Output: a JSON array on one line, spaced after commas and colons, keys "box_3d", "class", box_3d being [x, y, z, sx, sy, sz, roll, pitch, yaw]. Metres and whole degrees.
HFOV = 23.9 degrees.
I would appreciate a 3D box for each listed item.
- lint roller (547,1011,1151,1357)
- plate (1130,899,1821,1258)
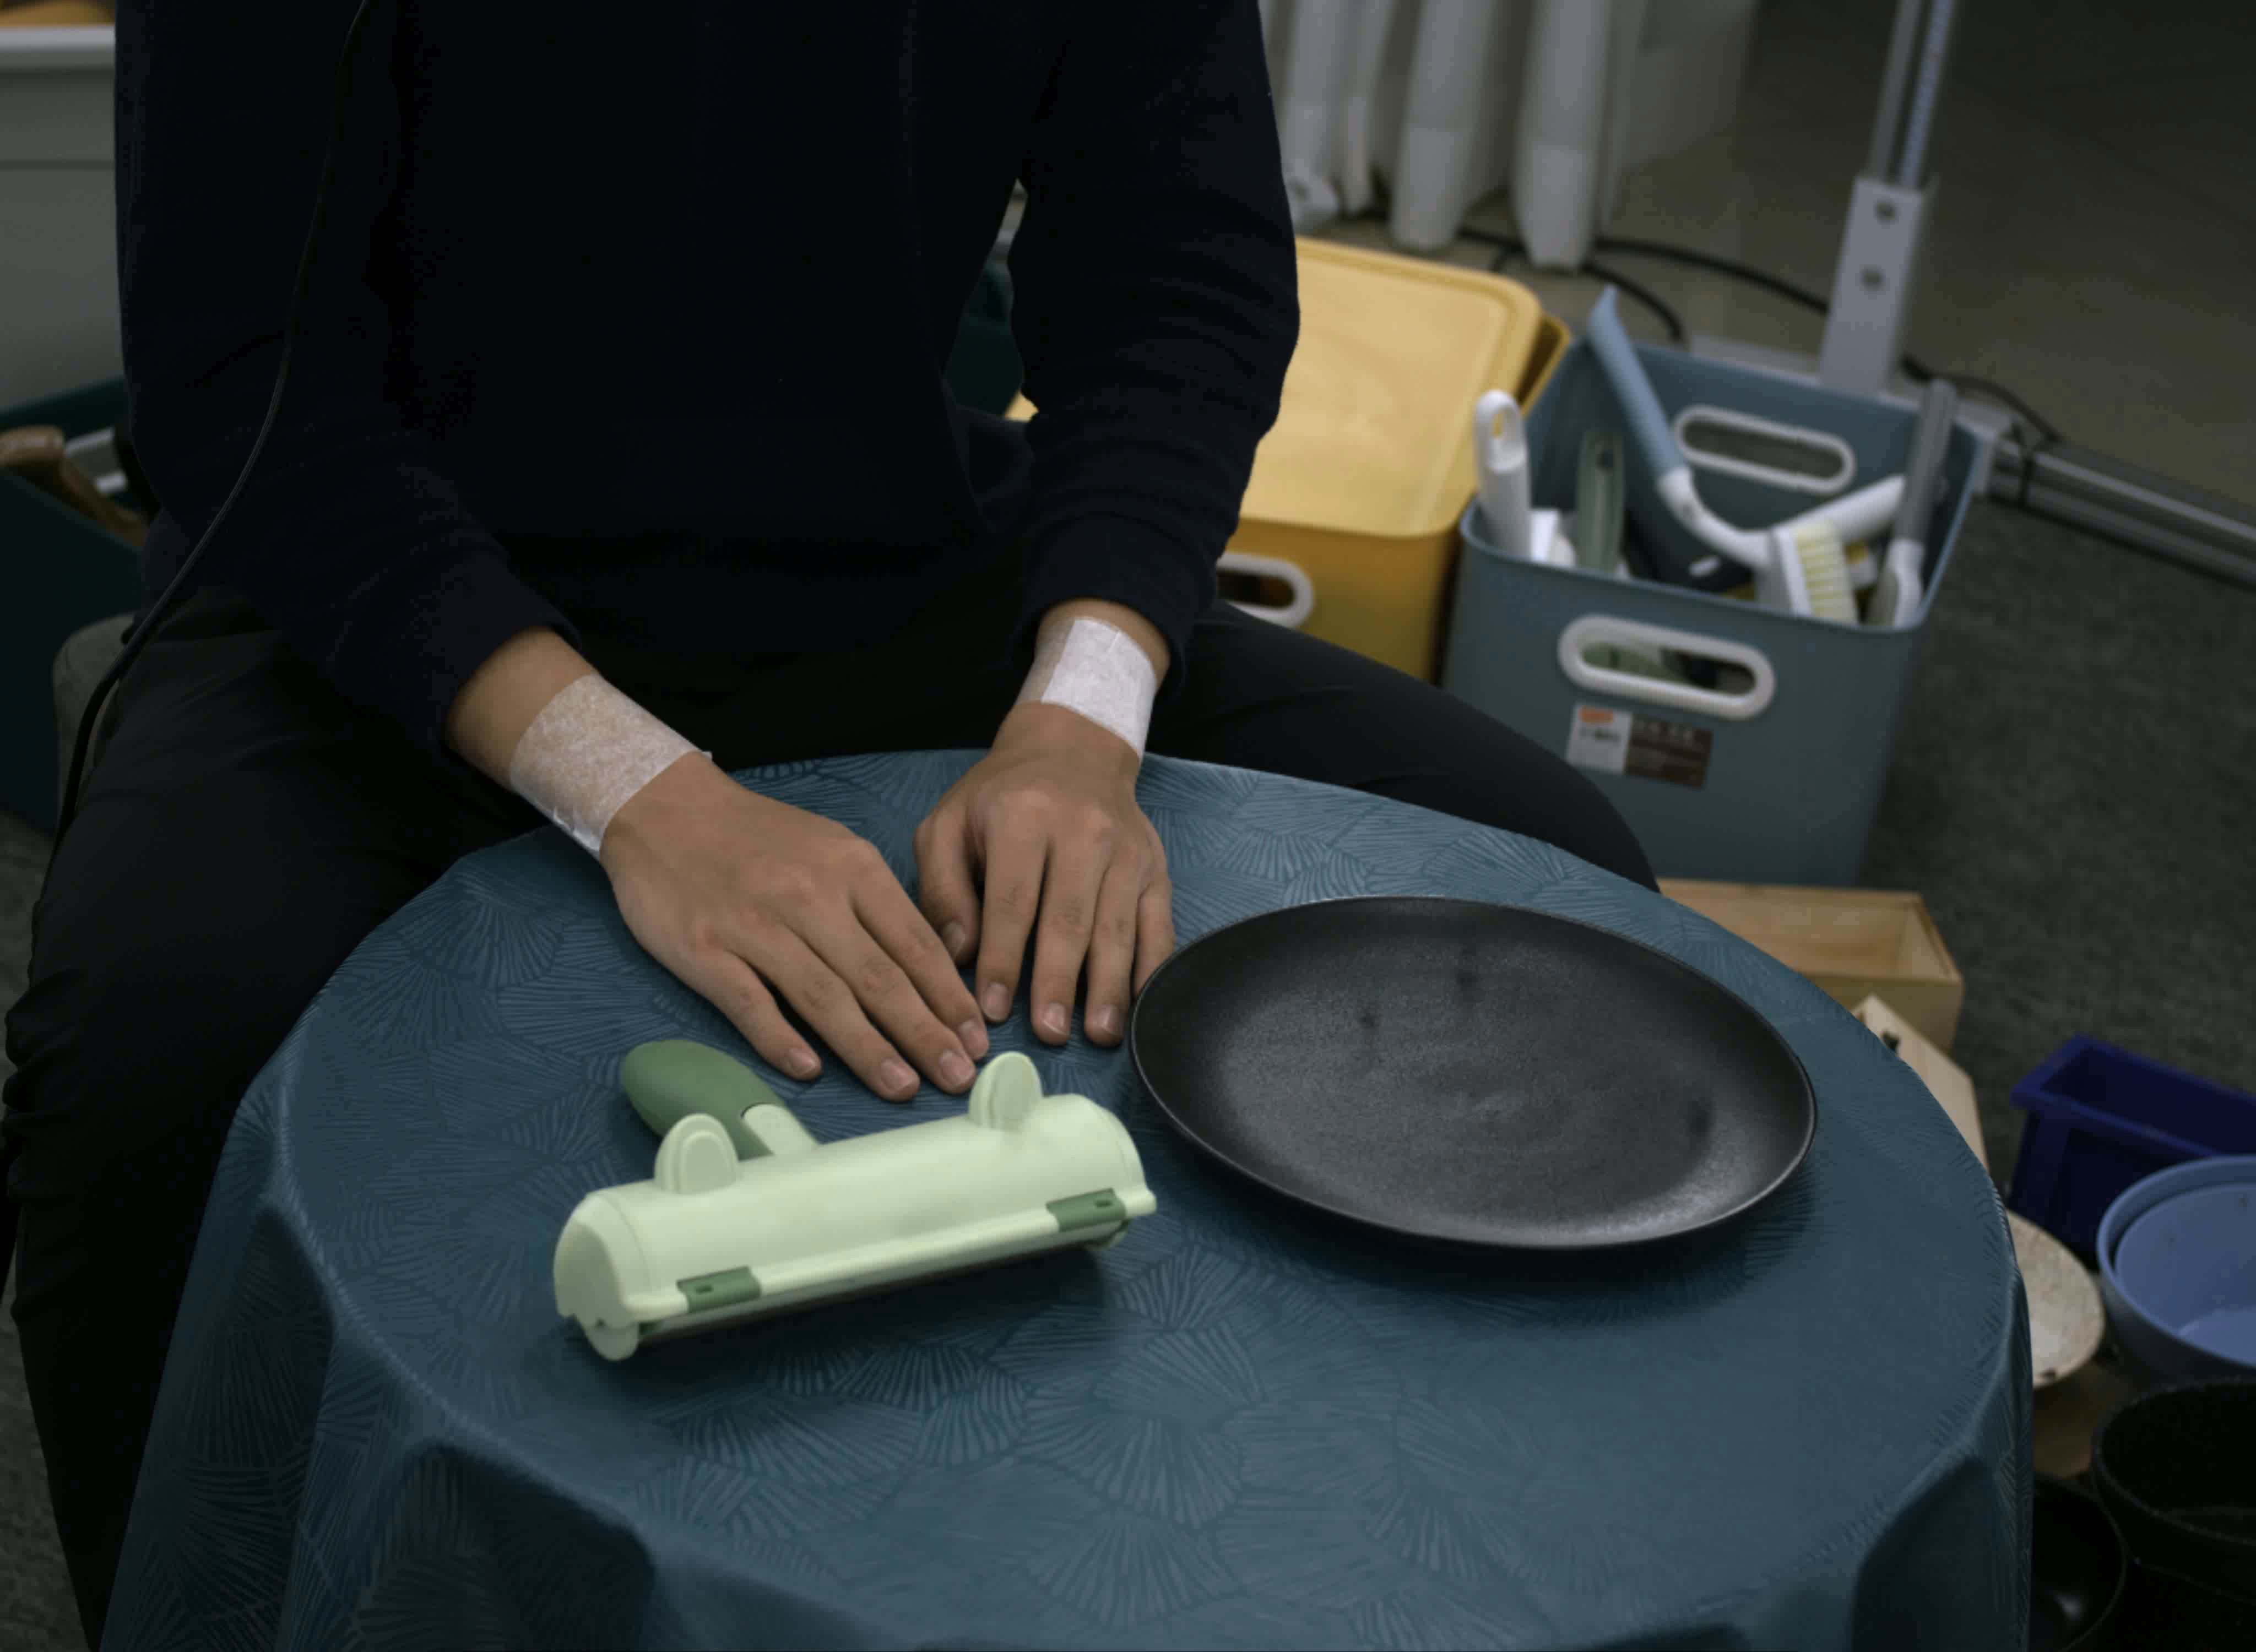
[{"box_3d": [-0.117, 0.091, 1.745, 0.197, 0.082, 0.185, -10, 37, -31], "class": "lint roller"}, {"box_3d": [0.120, 0.093, 1.864, 0.243, 0.023, 0.246, 5, 27, -3], "class": "plate"}]
